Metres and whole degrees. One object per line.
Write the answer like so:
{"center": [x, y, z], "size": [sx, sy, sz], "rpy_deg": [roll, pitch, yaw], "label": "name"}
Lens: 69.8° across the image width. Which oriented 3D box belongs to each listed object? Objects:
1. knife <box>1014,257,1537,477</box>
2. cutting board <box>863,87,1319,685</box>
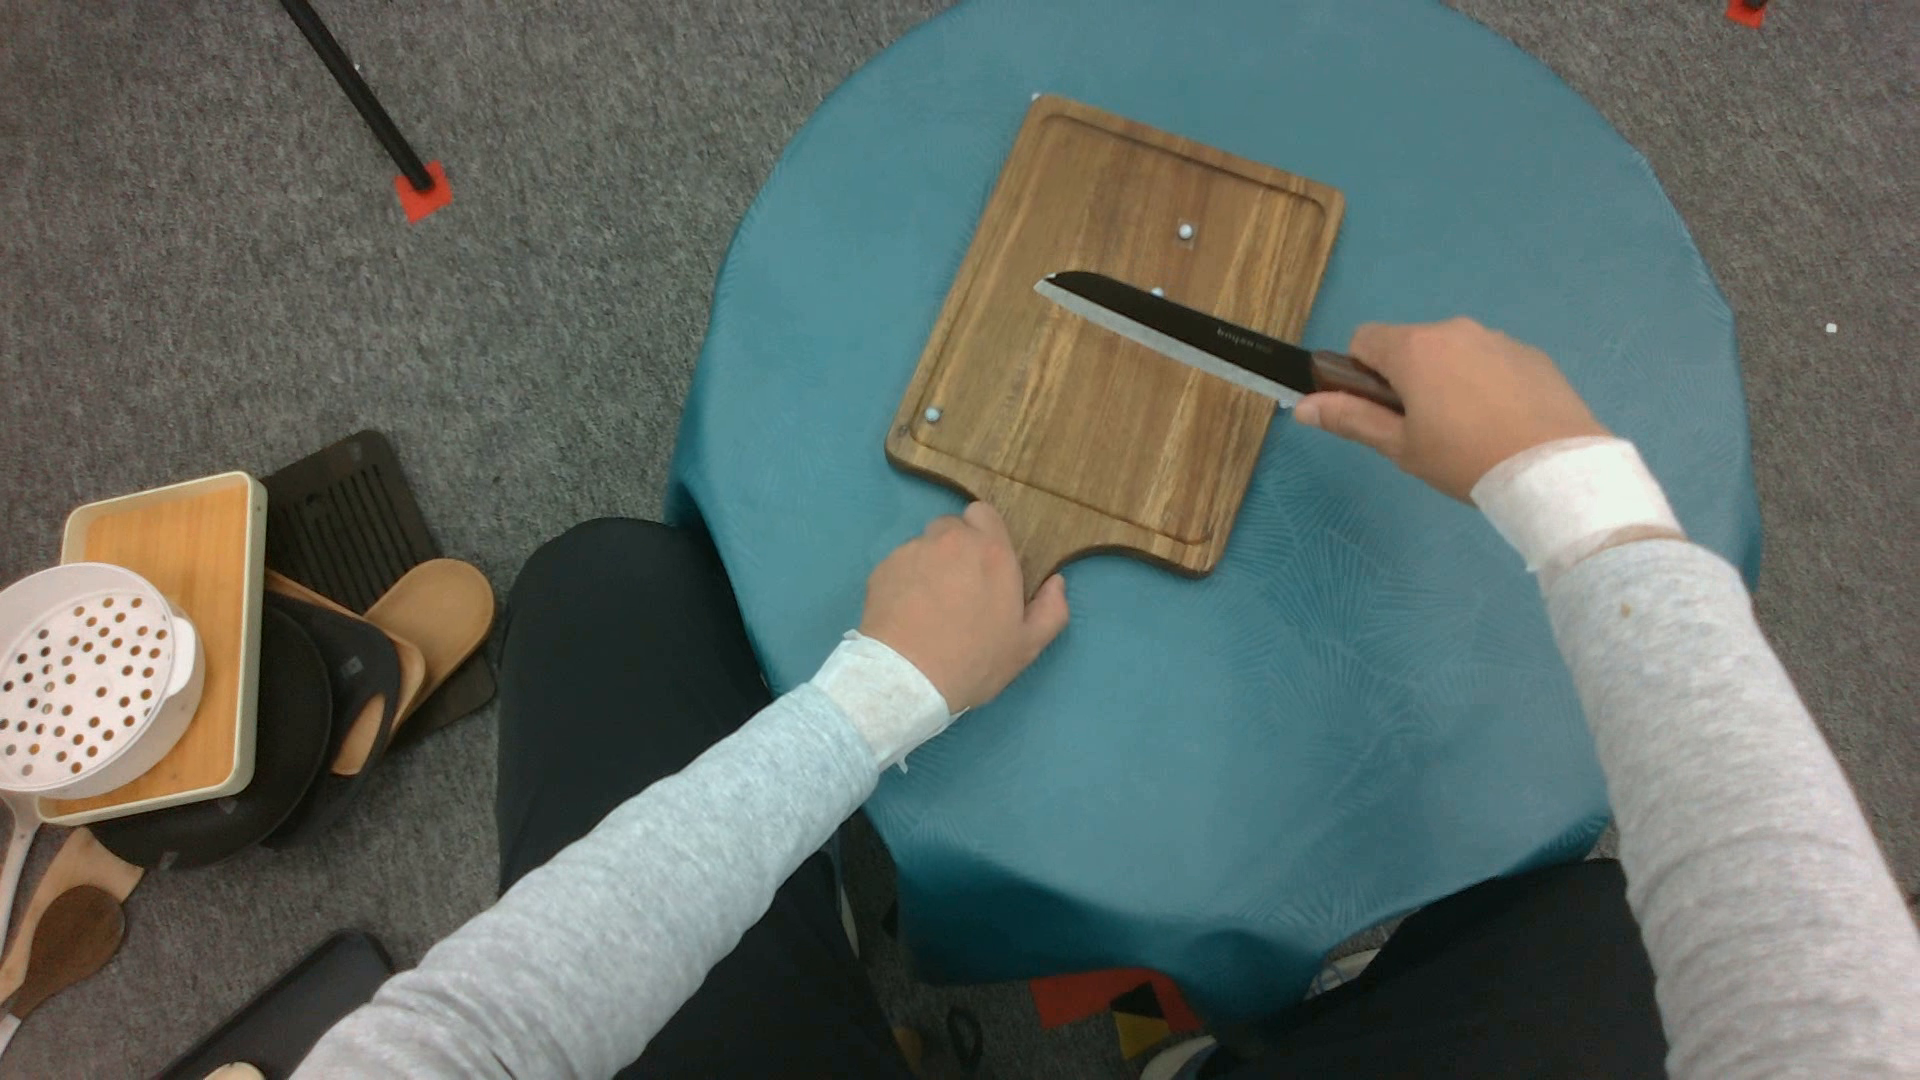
{"center": [0.152, -0.094, 0.715], "size": [0.289, 0.050, 0.020], "rpy_deg": [24, 58, 22], "label": "knife"}
{"center": [0.061, -0.085, 0.775], "size": [0.201, 0.023, 0.353], "rpy_deg": [20, 73, 5], "label": "cutting board"}
